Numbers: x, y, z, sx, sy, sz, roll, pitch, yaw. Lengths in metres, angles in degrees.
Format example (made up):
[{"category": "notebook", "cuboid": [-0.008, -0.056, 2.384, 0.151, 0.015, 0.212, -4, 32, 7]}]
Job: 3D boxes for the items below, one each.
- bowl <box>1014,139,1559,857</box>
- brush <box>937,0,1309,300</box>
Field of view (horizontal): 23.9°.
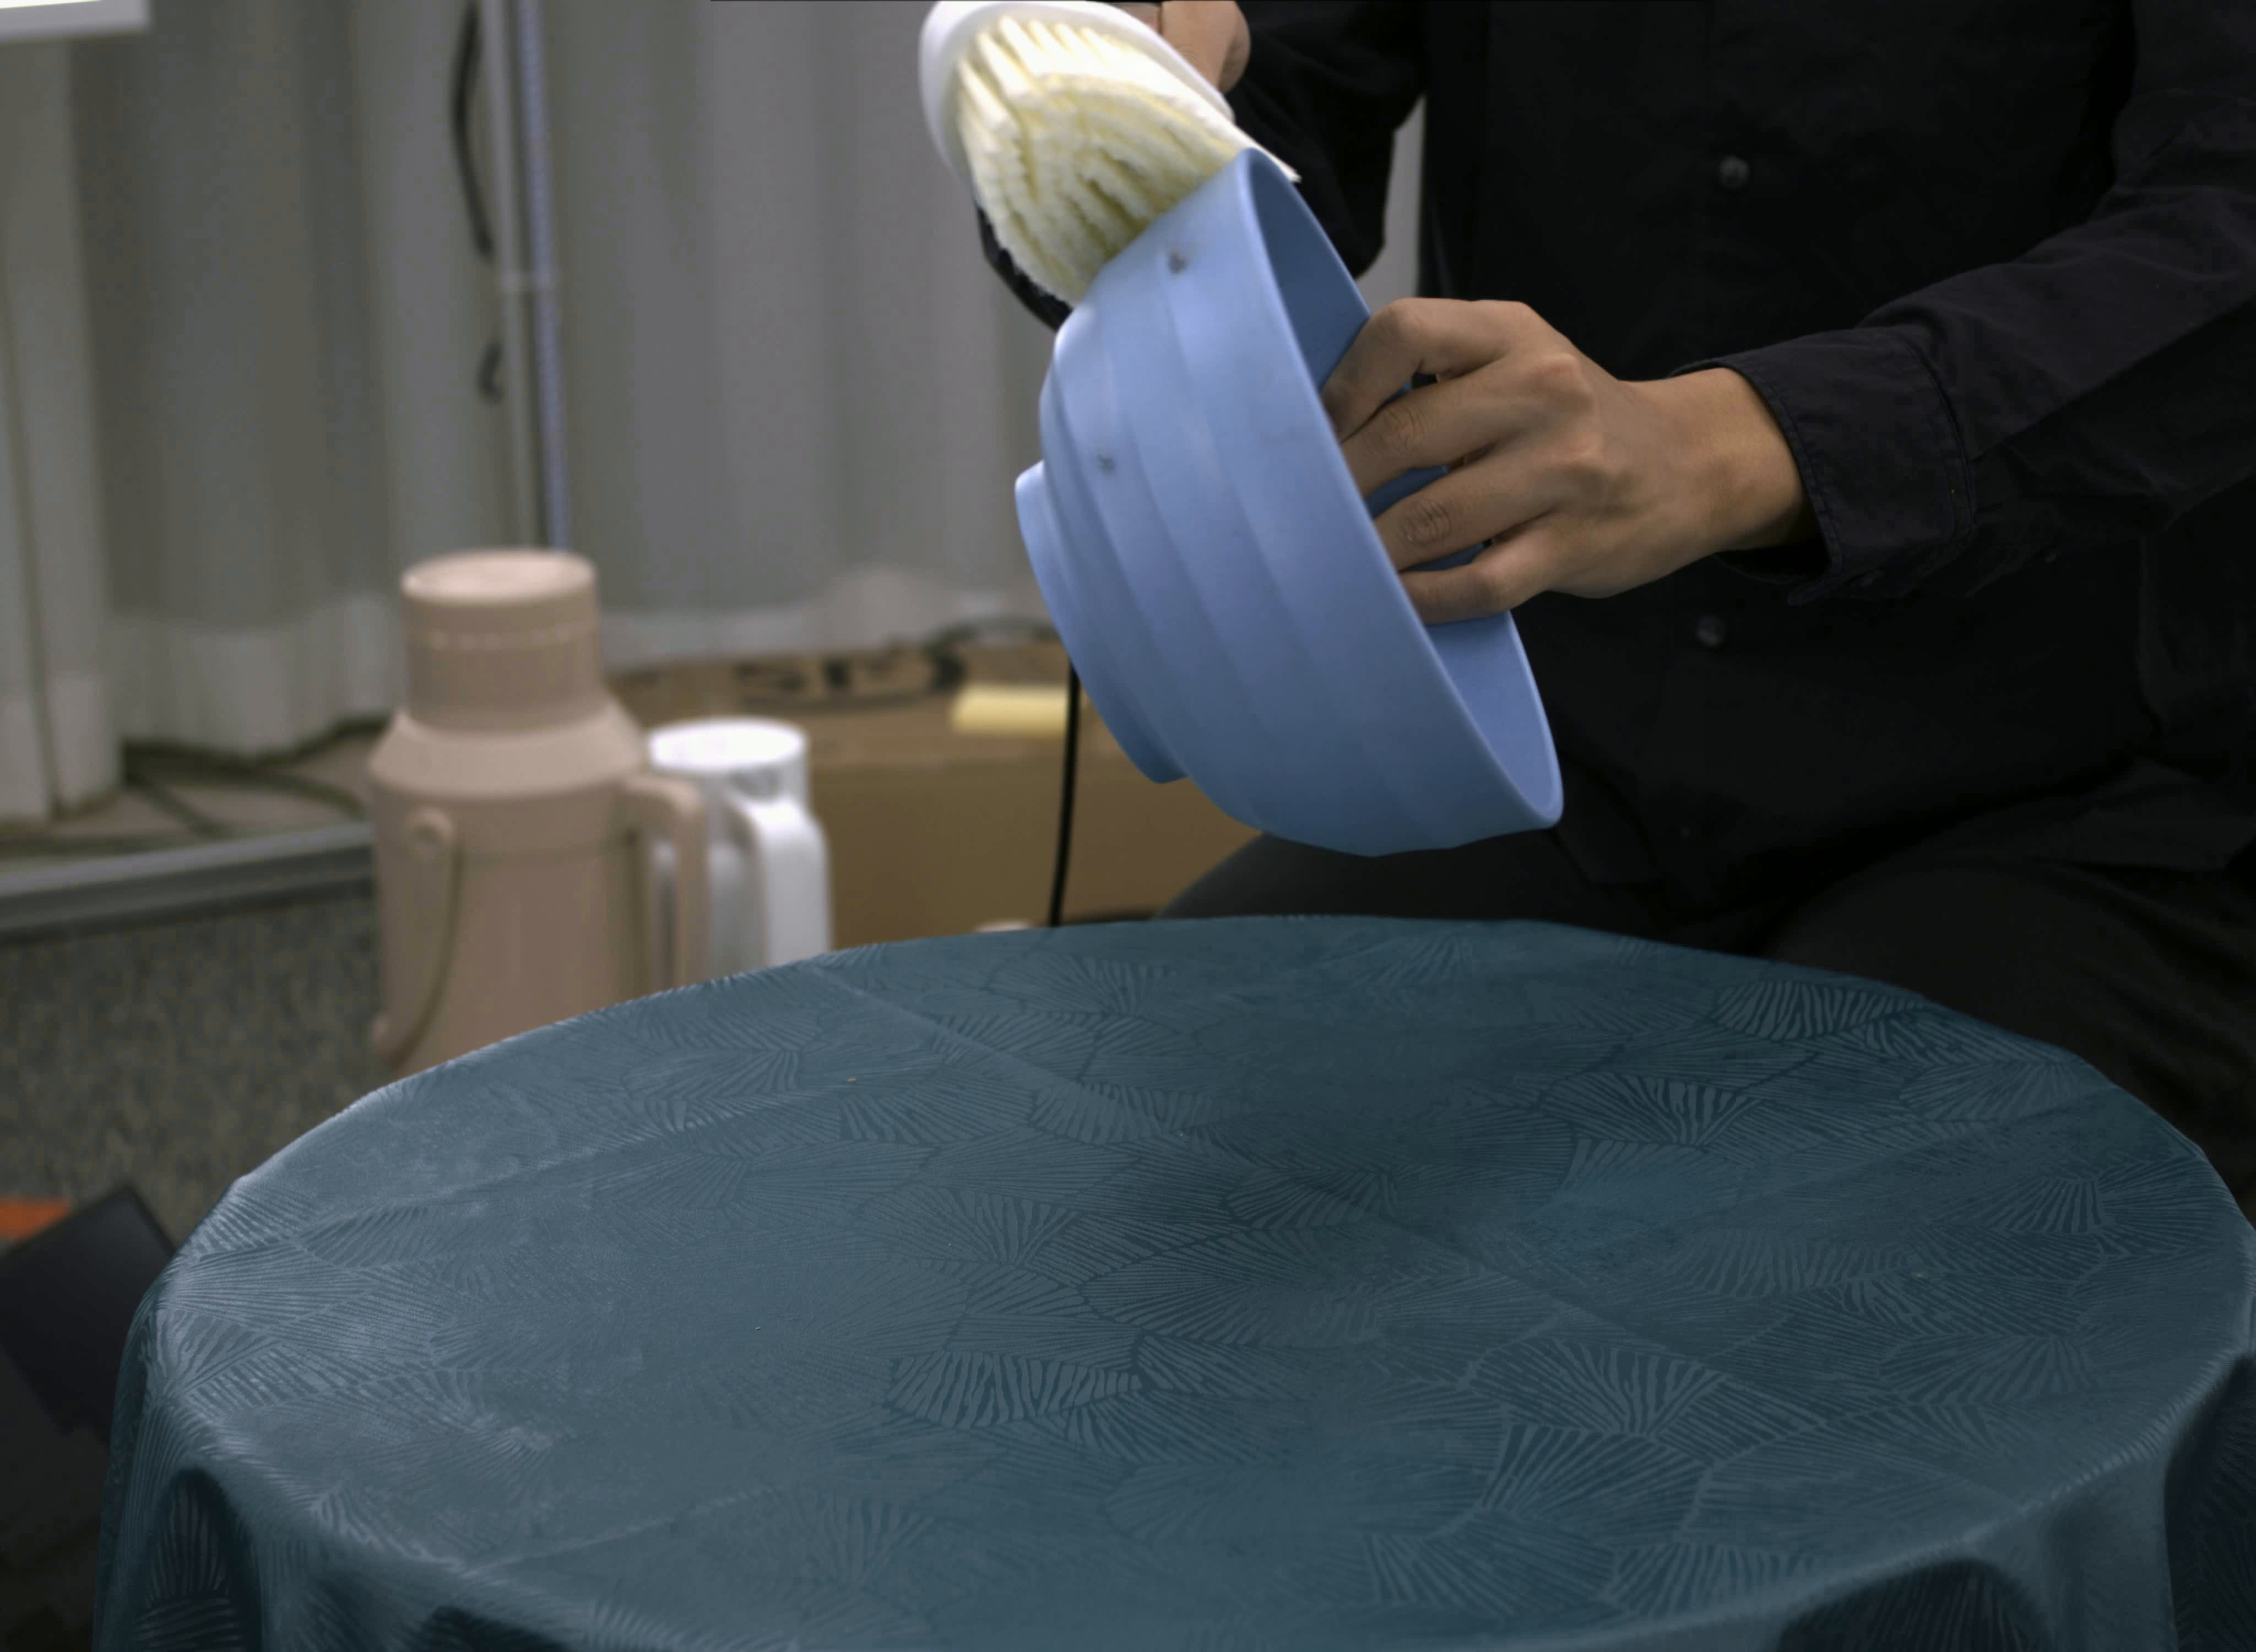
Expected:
[{"category": "bowl", "cuboid": [0.032, -0.072, 1.408, 0.096, 0.195, 0.196, -24, 12, 11]}, {"category": "brush", "cuboid": [0.021, -0.177, 1.513, 0.083, 0.085, 0.321, -3, -5, 14]}]
